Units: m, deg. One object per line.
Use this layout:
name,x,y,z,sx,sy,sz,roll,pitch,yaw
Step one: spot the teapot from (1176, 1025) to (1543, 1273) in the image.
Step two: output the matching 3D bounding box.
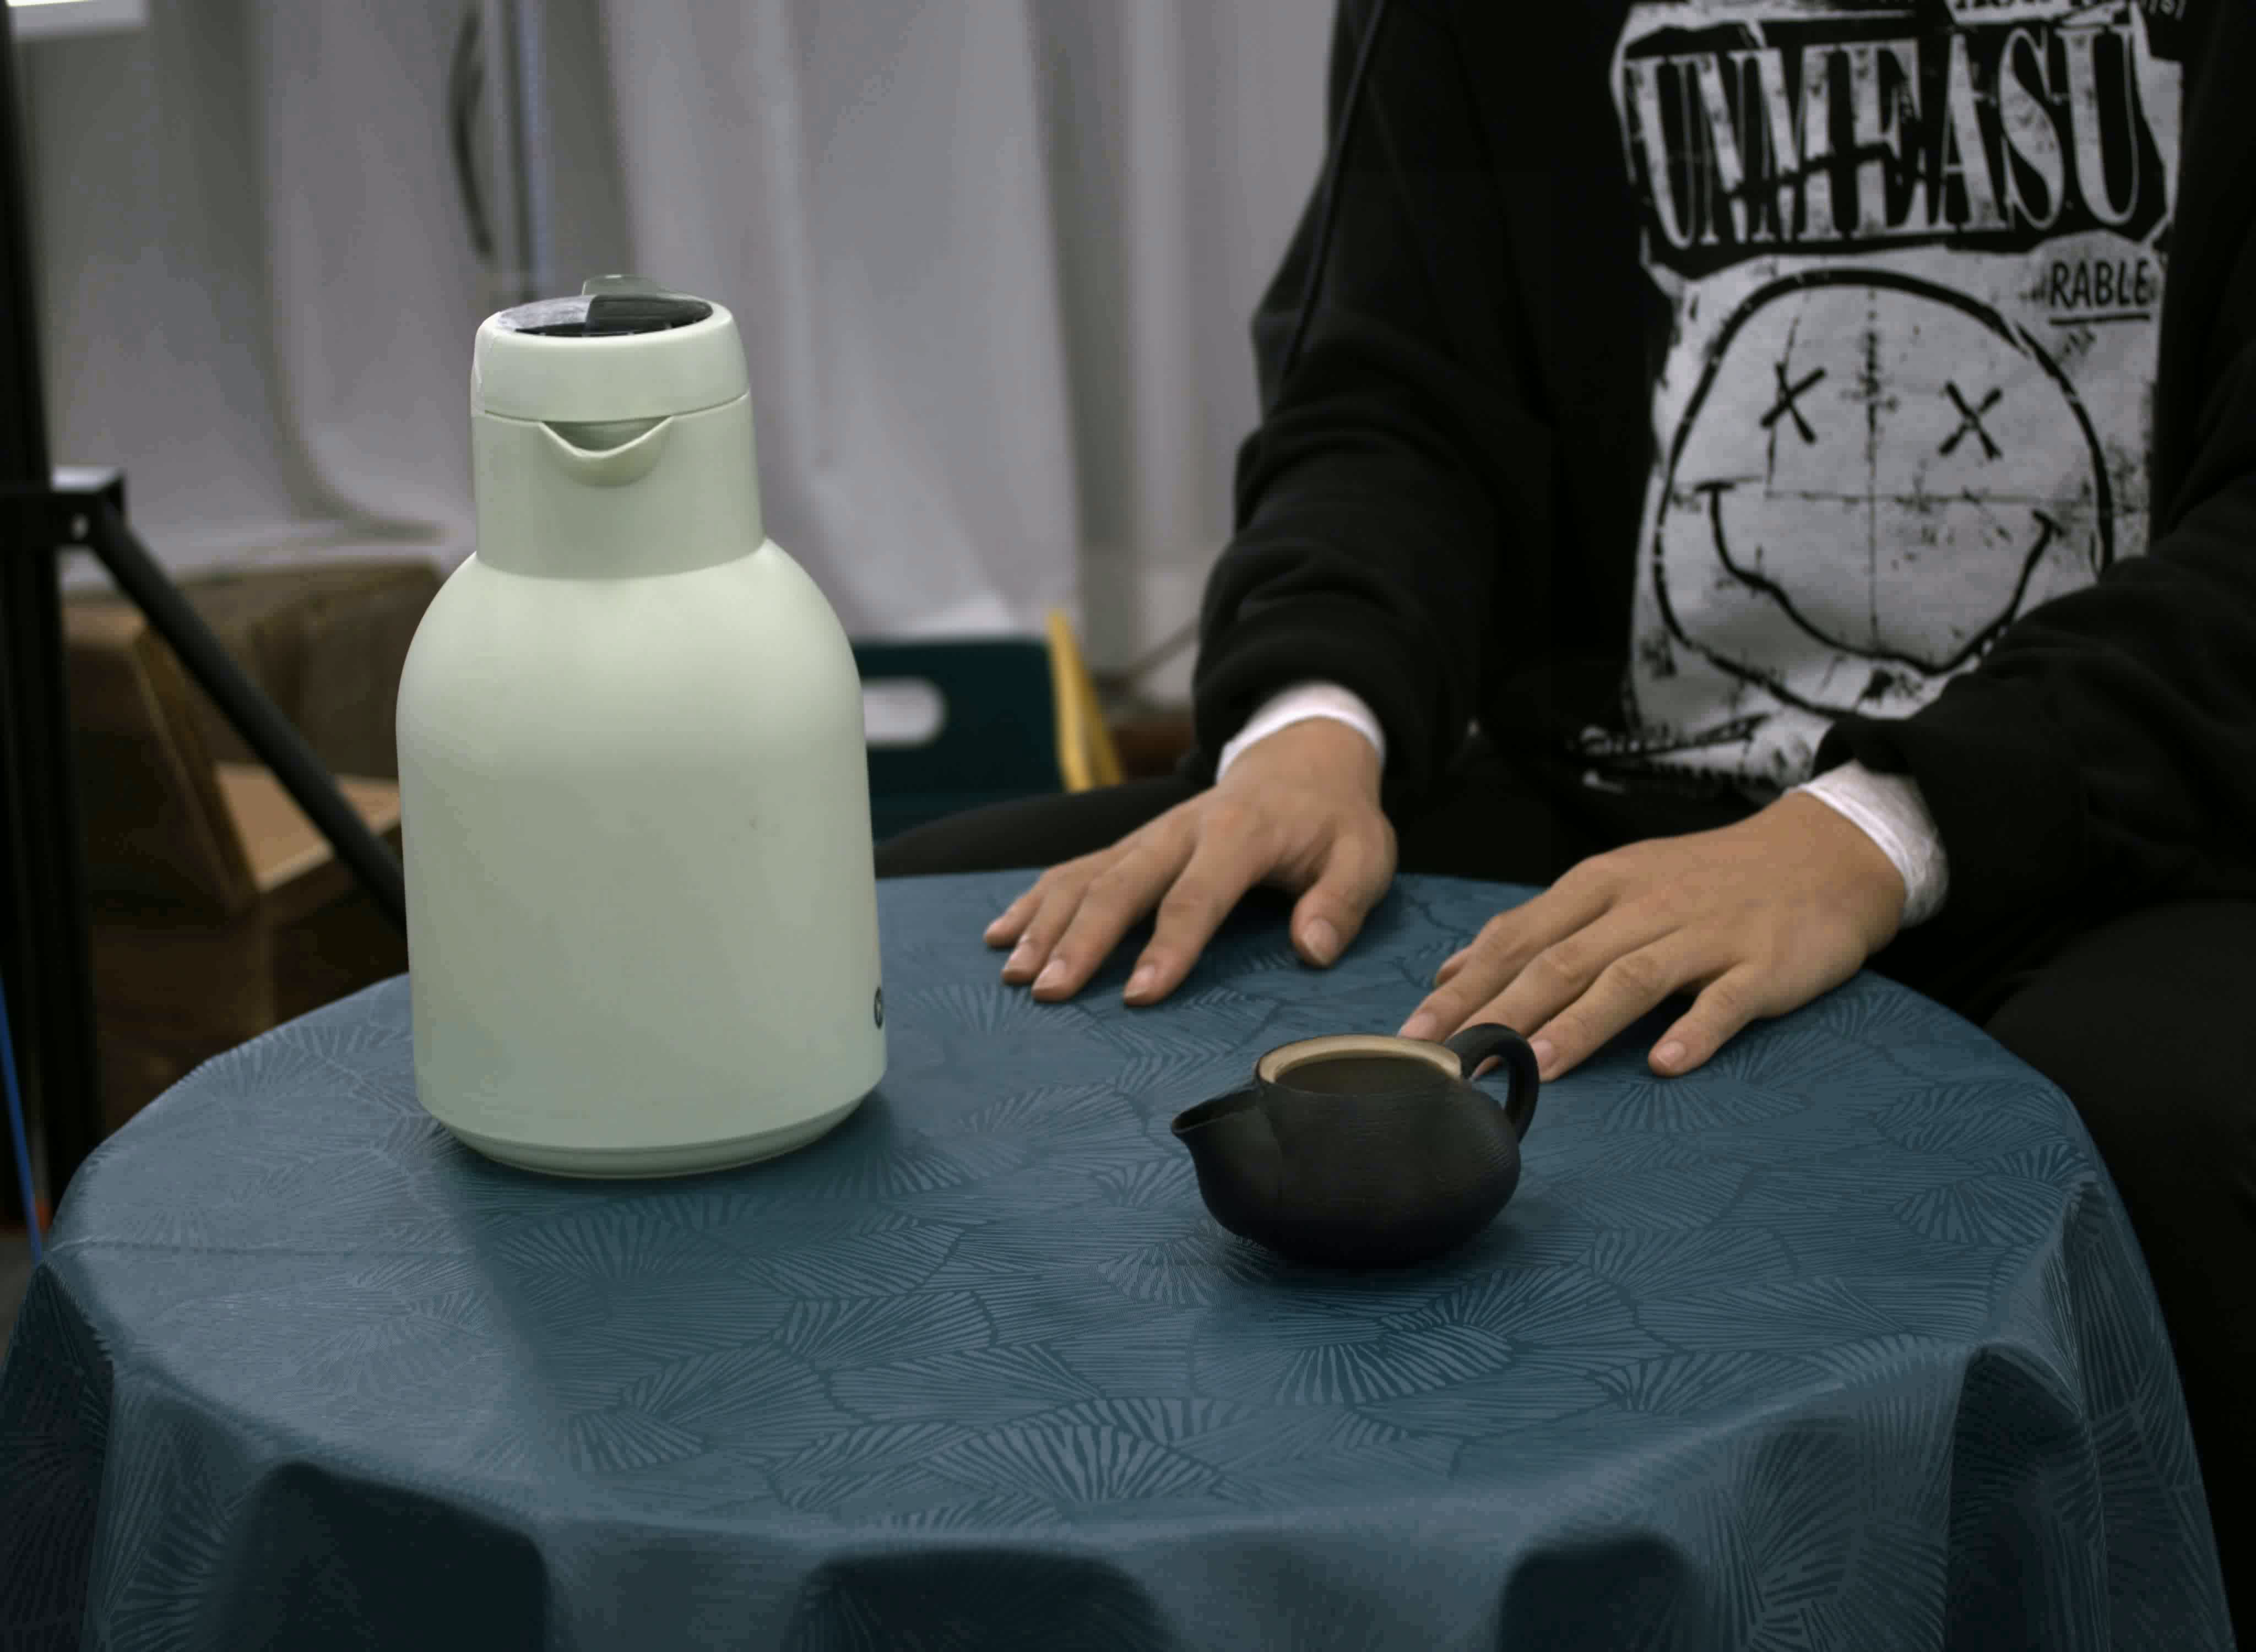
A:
teapot,0.067,0.093,1.500,0.130,0.053,0.093,-14,21,-35

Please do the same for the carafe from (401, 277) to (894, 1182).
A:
carafe,-0.150,-0.034,1.626,0.143,0.257,0.188,-4,12,-2
